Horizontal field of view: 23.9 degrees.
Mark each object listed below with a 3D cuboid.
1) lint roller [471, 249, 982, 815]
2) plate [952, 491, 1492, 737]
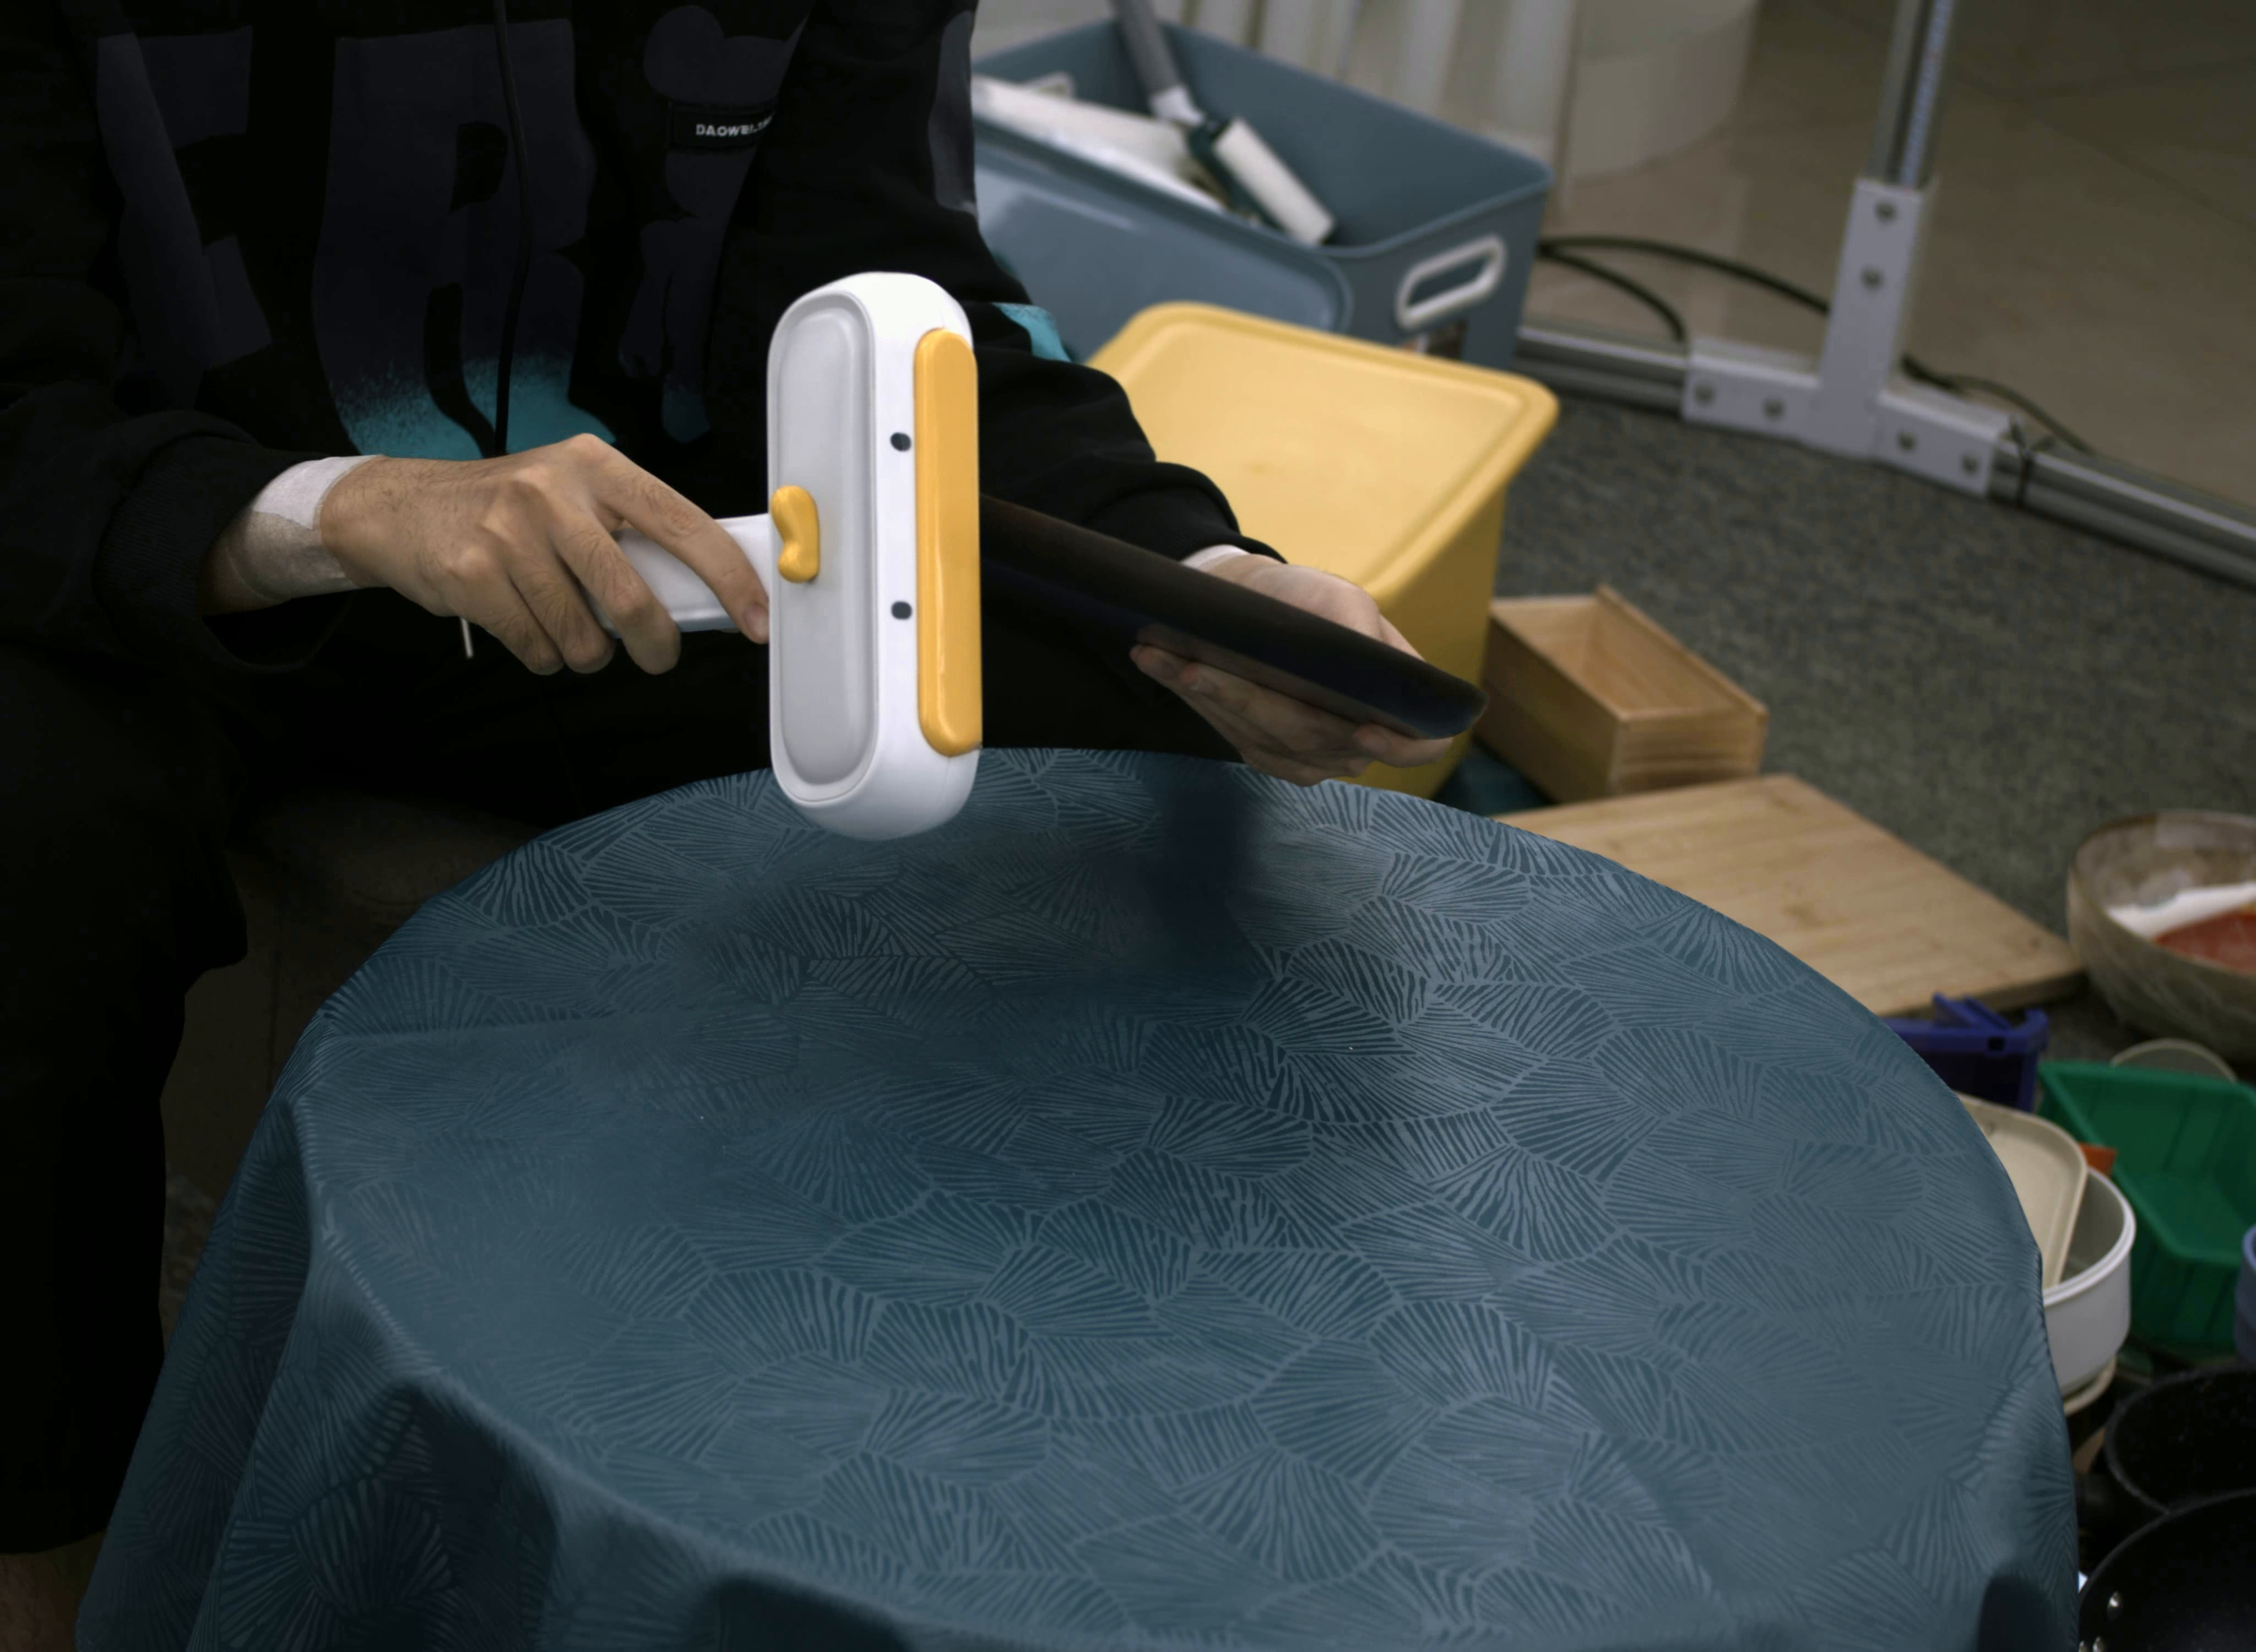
[{"bbox_3d":[-0.139,-0.090,1.827,0.193,0.194,0.073,-13,-10,35],"label":"lint roller"},{"bbox_3d":[0.008,-0.080,1.912,0.254,0.029,0.254,19,-3,1],"label":"plate"}]
